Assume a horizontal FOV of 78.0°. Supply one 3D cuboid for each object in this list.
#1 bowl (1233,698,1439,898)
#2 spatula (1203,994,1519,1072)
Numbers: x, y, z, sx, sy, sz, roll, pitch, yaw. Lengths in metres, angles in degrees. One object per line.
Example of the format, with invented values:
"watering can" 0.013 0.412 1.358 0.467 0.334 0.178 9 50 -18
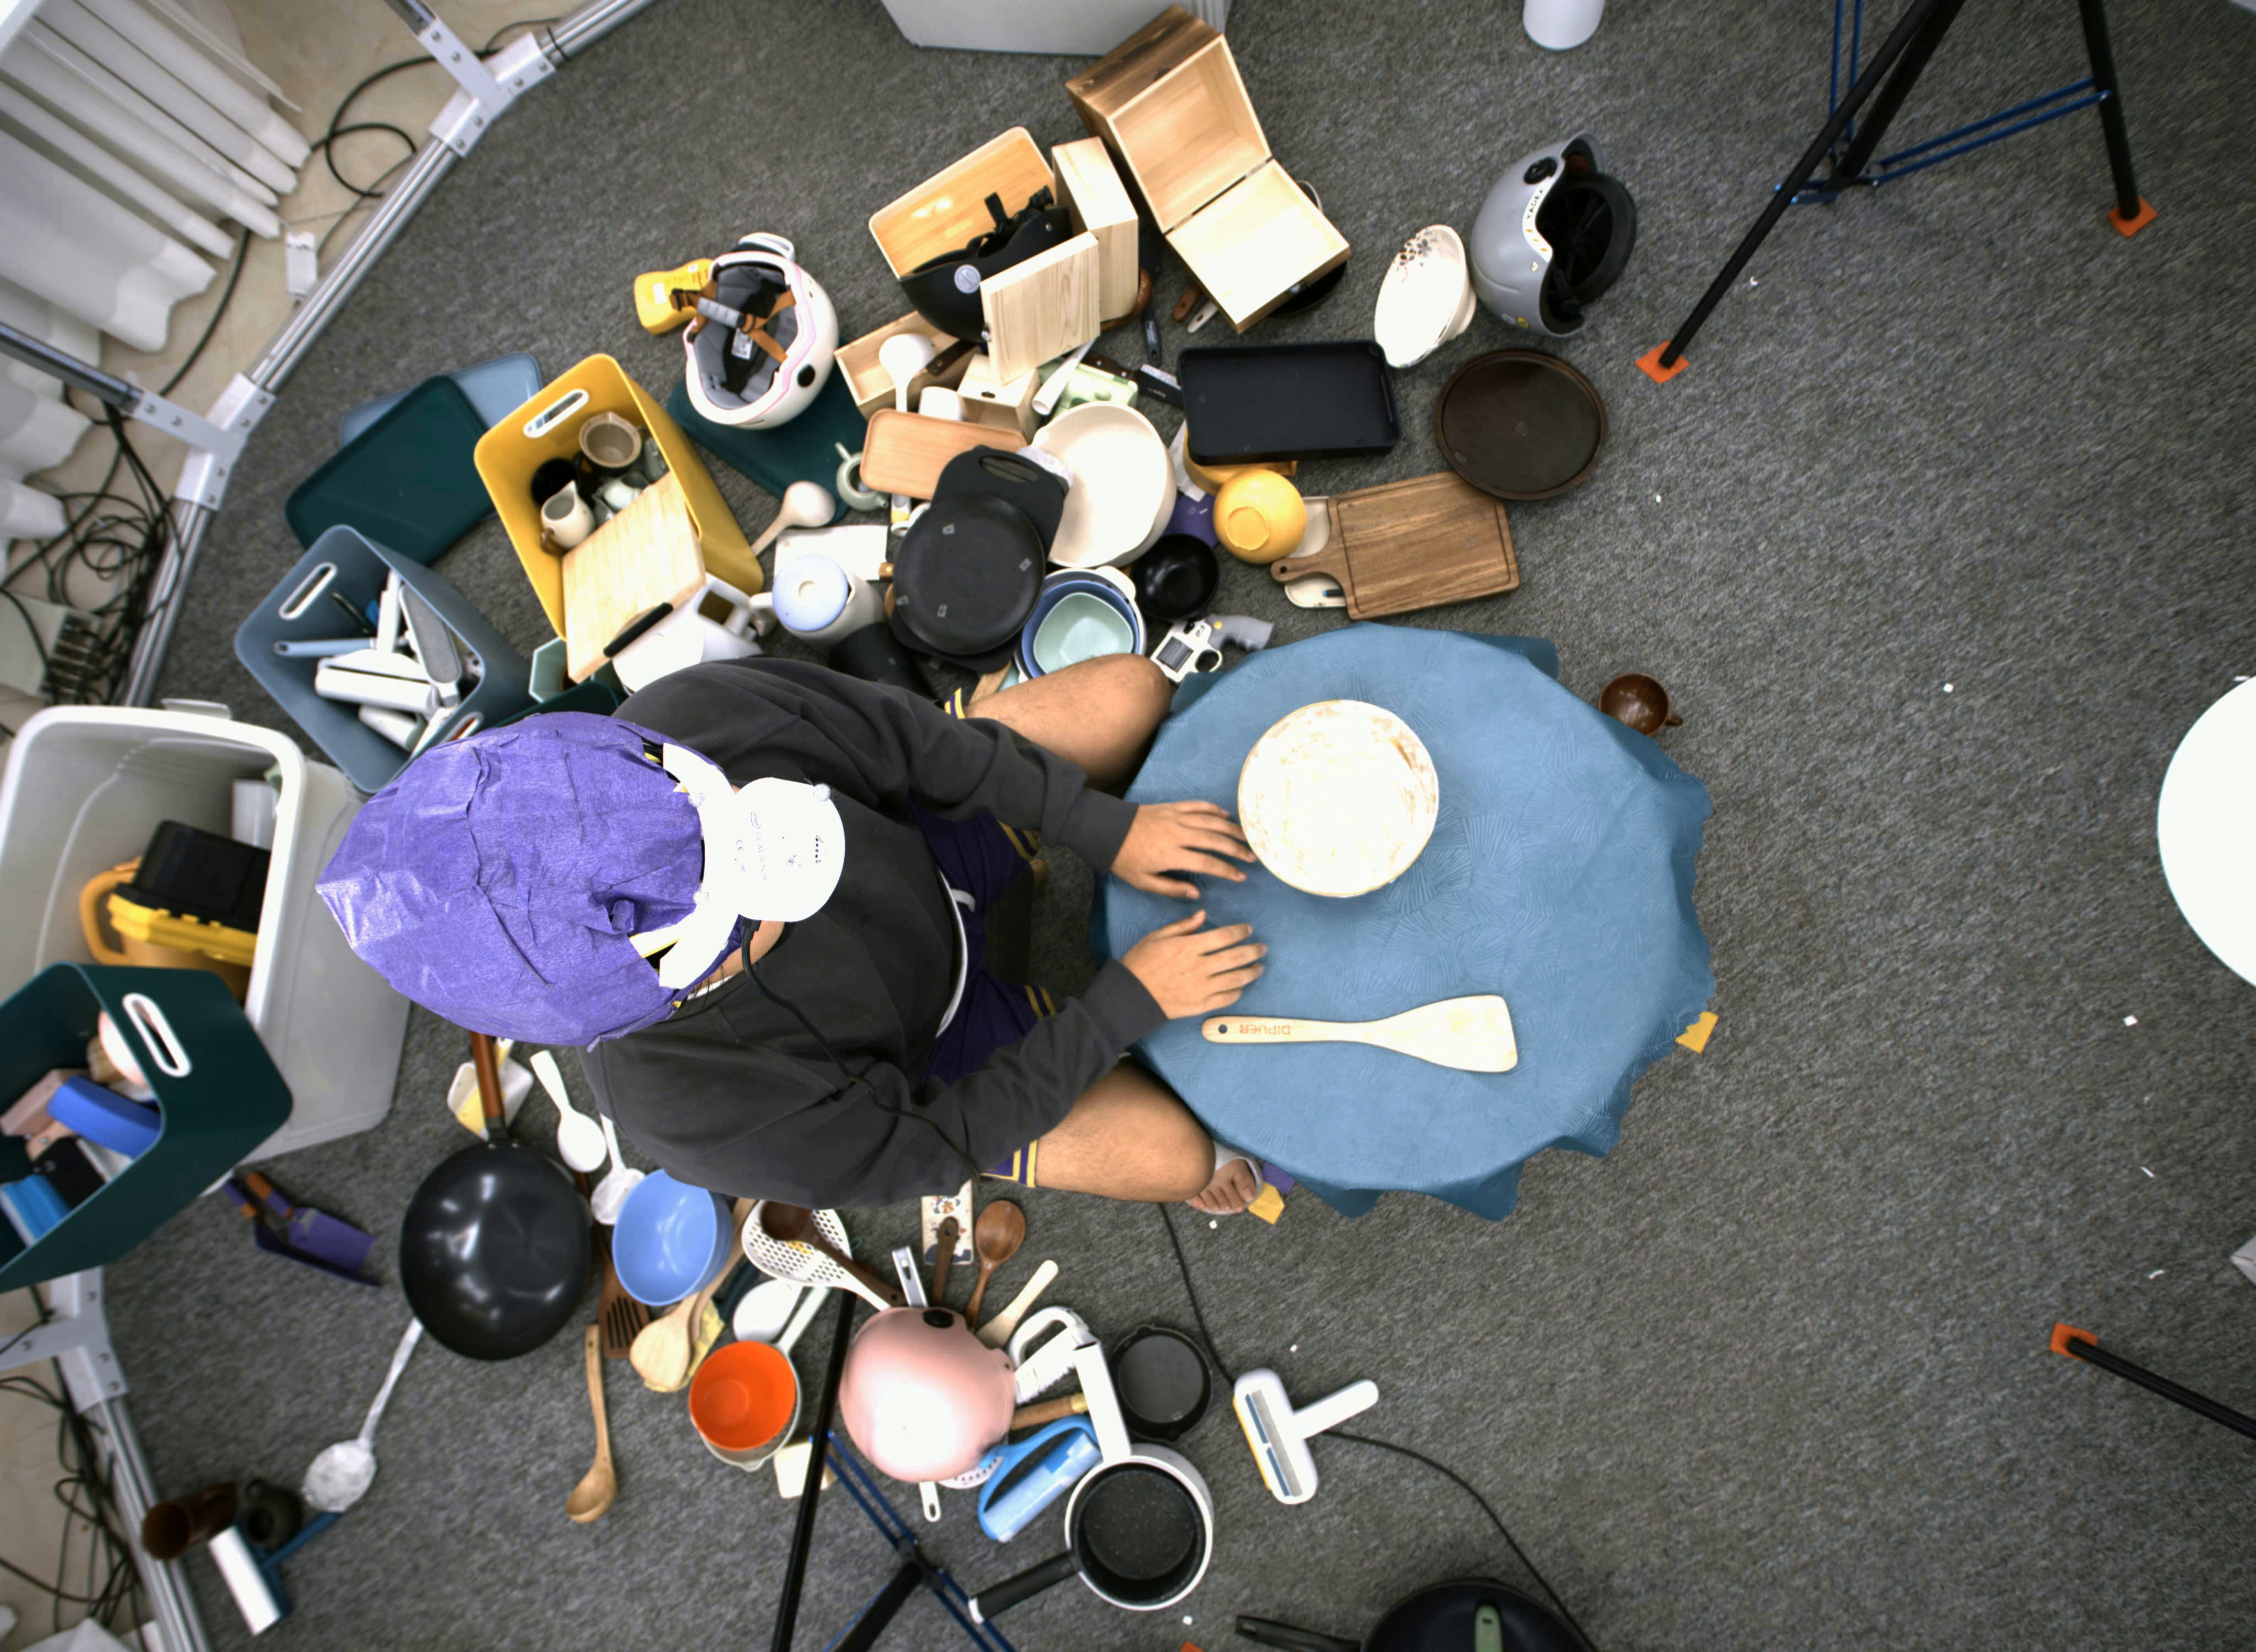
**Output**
"bowl" 0.212 -0.026 1.426 0.215 0.094 0.214 -1 87 9
"spatula" 0.240 0.213 1.449 0.329 0.016 0.079 0 87 11
